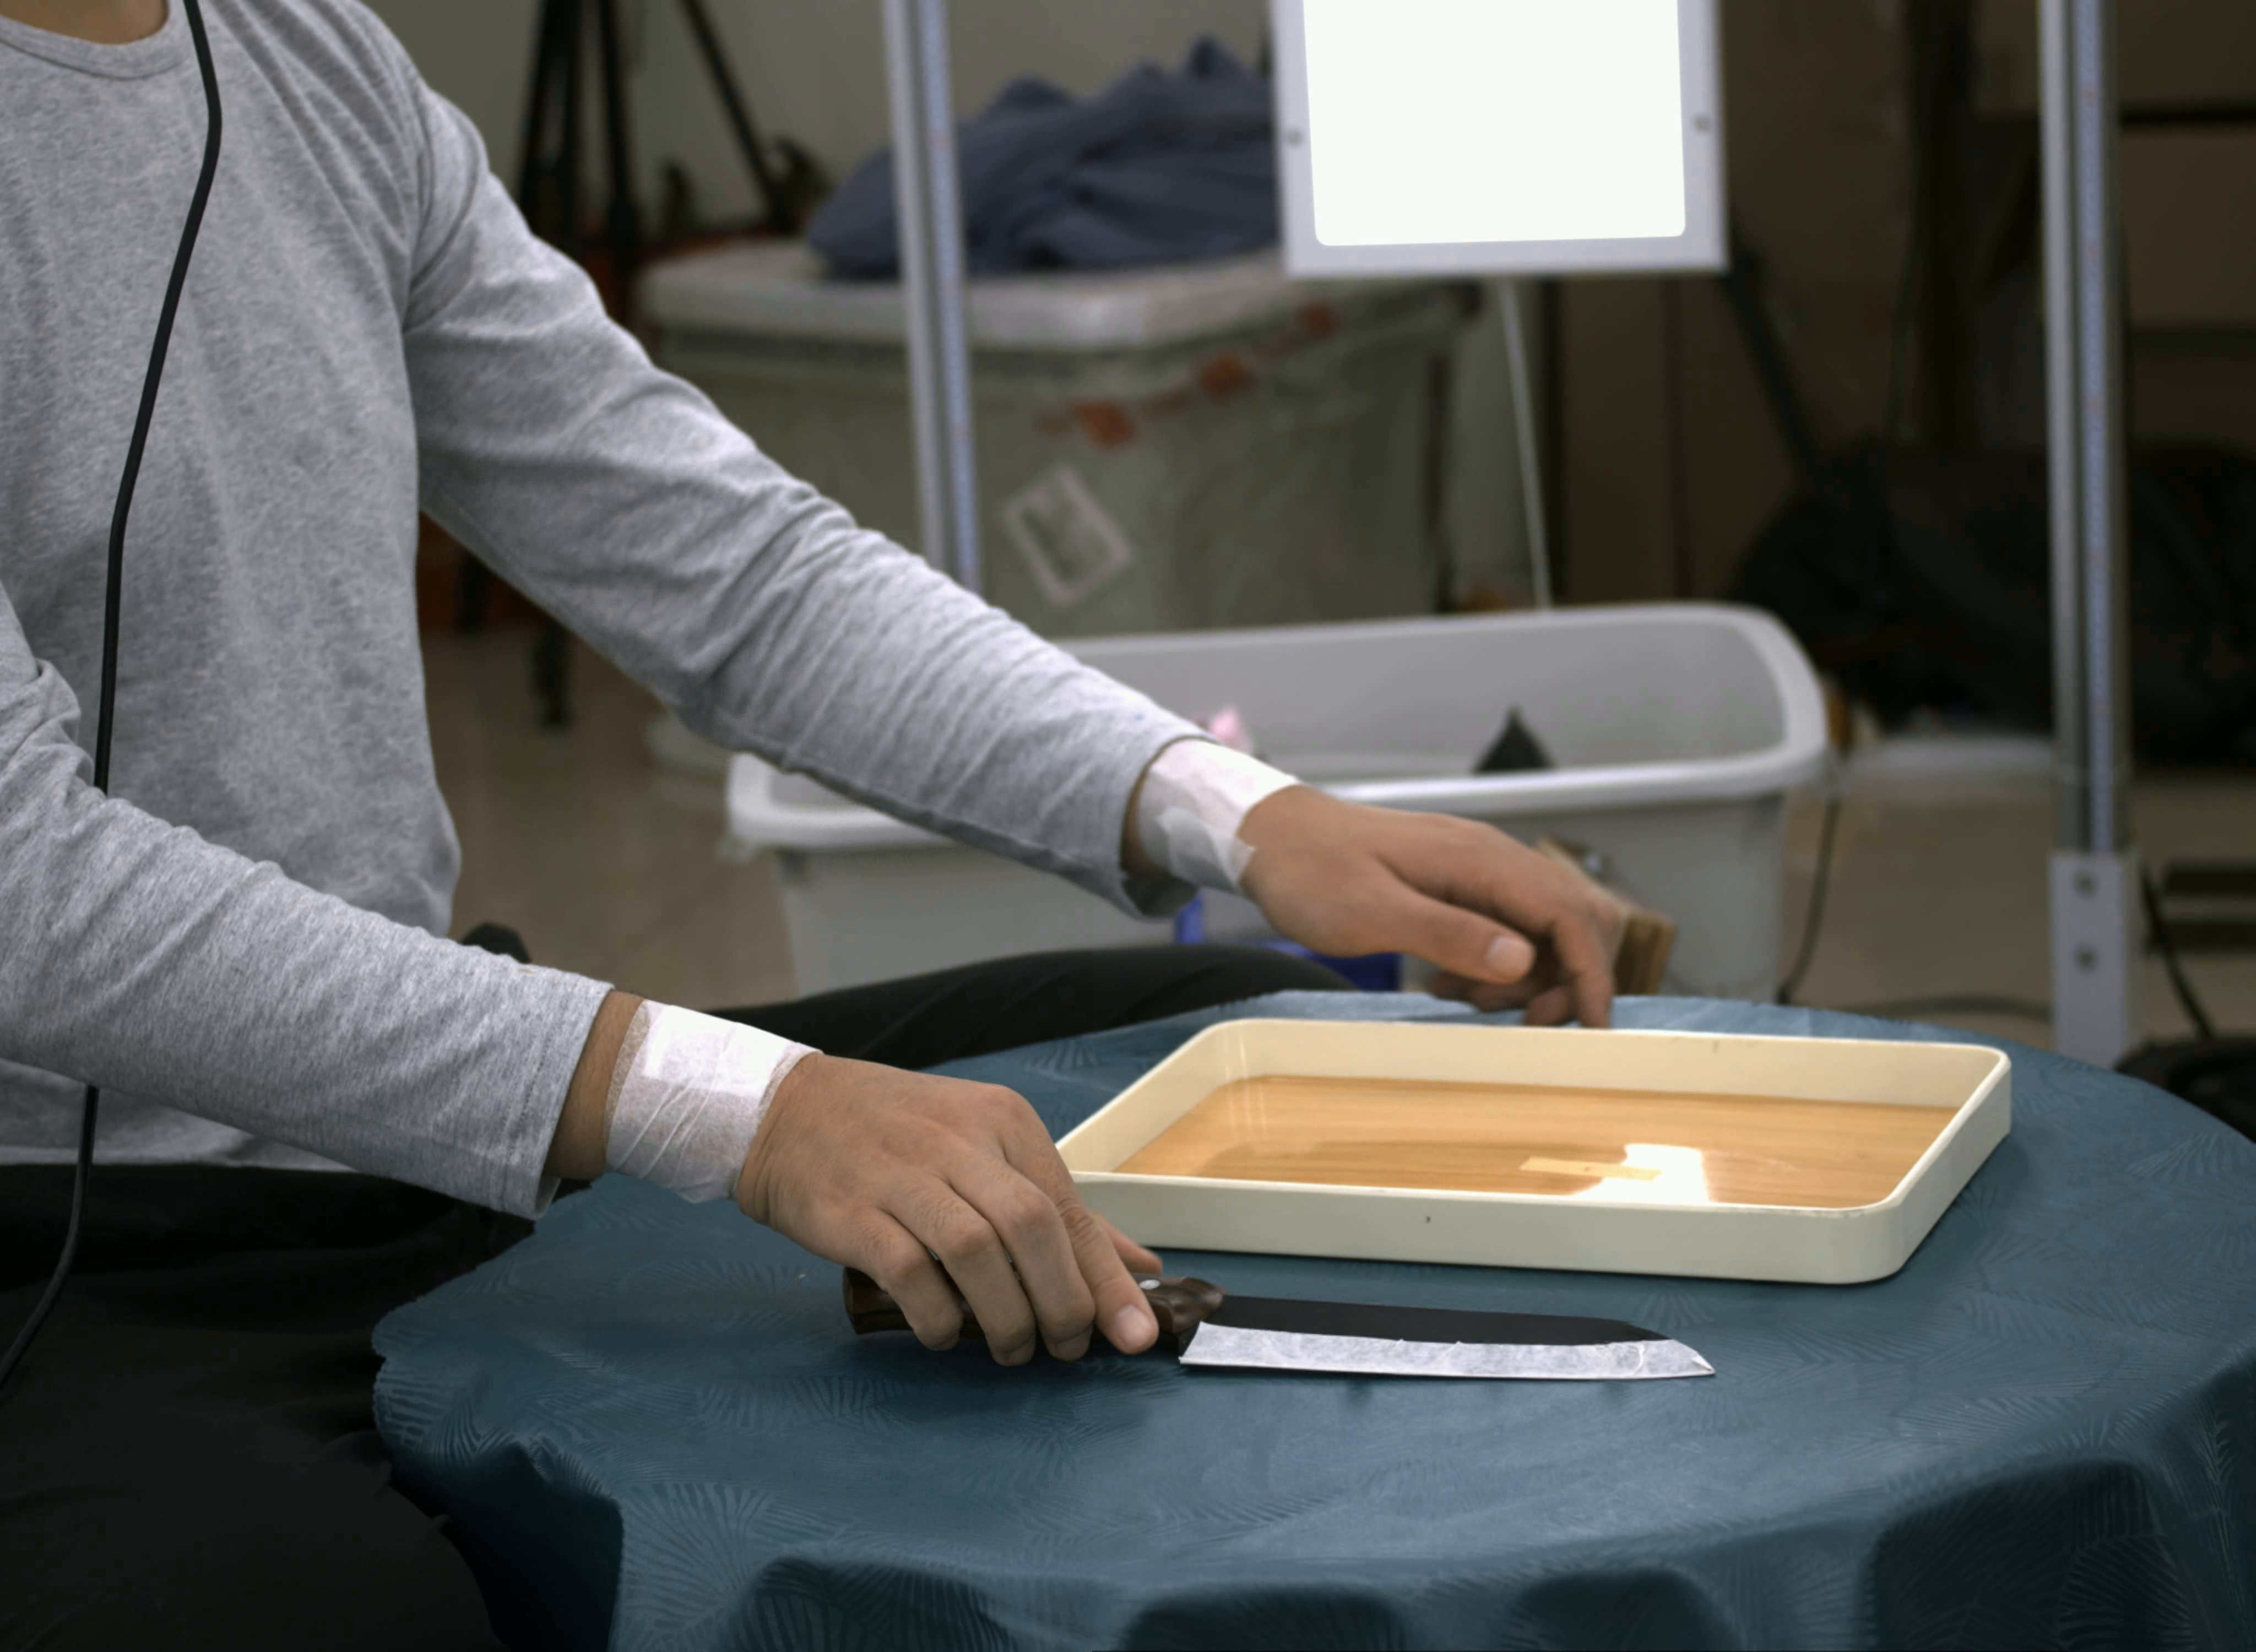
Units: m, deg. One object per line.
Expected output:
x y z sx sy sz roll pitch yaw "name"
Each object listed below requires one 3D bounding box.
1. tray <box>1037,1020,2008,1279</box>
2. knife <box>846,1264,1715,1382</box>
0.138 0.108 1.872 0.305 0.027 0.188 1 15 25 "tray"
0.044 0.158 1.727 0.293 0.020 0.049 2 27 21 "knife"
